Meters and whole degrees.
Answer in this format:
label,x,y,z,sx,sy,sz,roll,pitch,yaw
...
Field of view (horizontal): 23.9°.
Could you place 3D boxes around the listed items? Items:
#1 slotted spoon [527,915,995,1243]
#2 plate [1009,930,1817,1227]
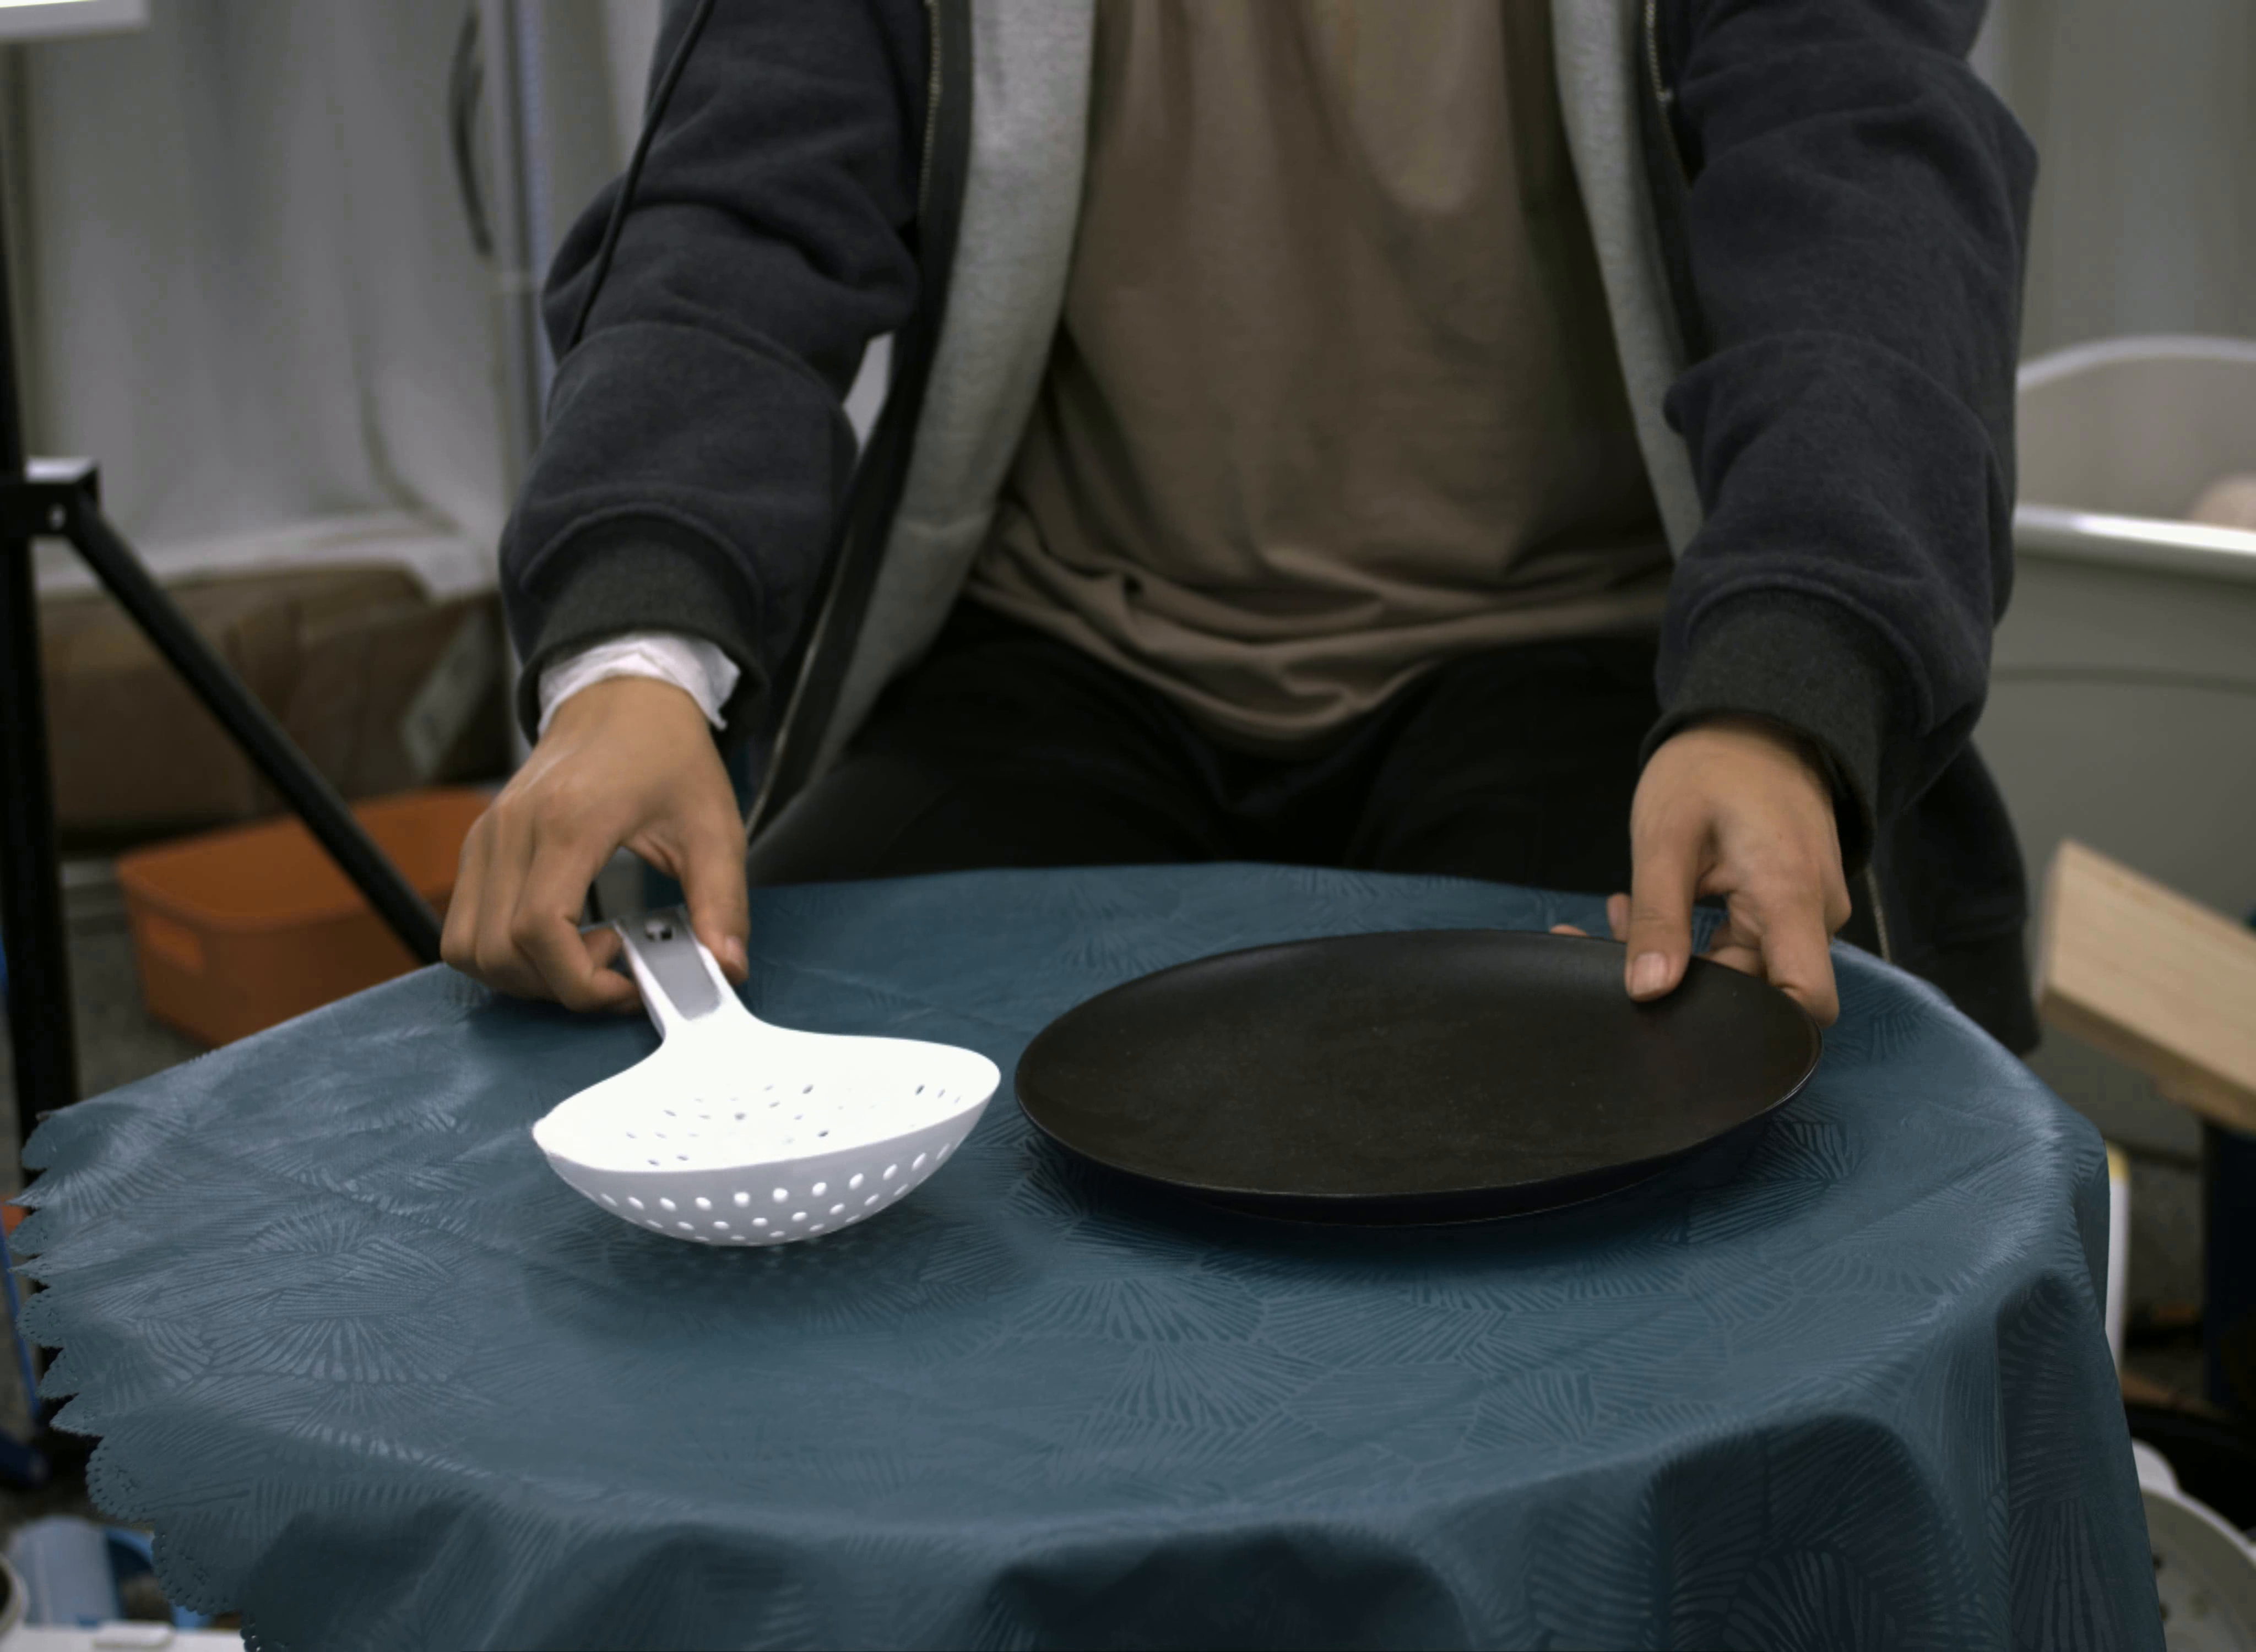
label,x,y,z,sx,sy,sz,roll,pitch,yaw
slotted spoon,-0.128,0.068,1.638,0.134,0.046,0.354,-8,16,-11
plate,0.086,0.079,1.598,0.243,0.023,0.246,-4,17,0
